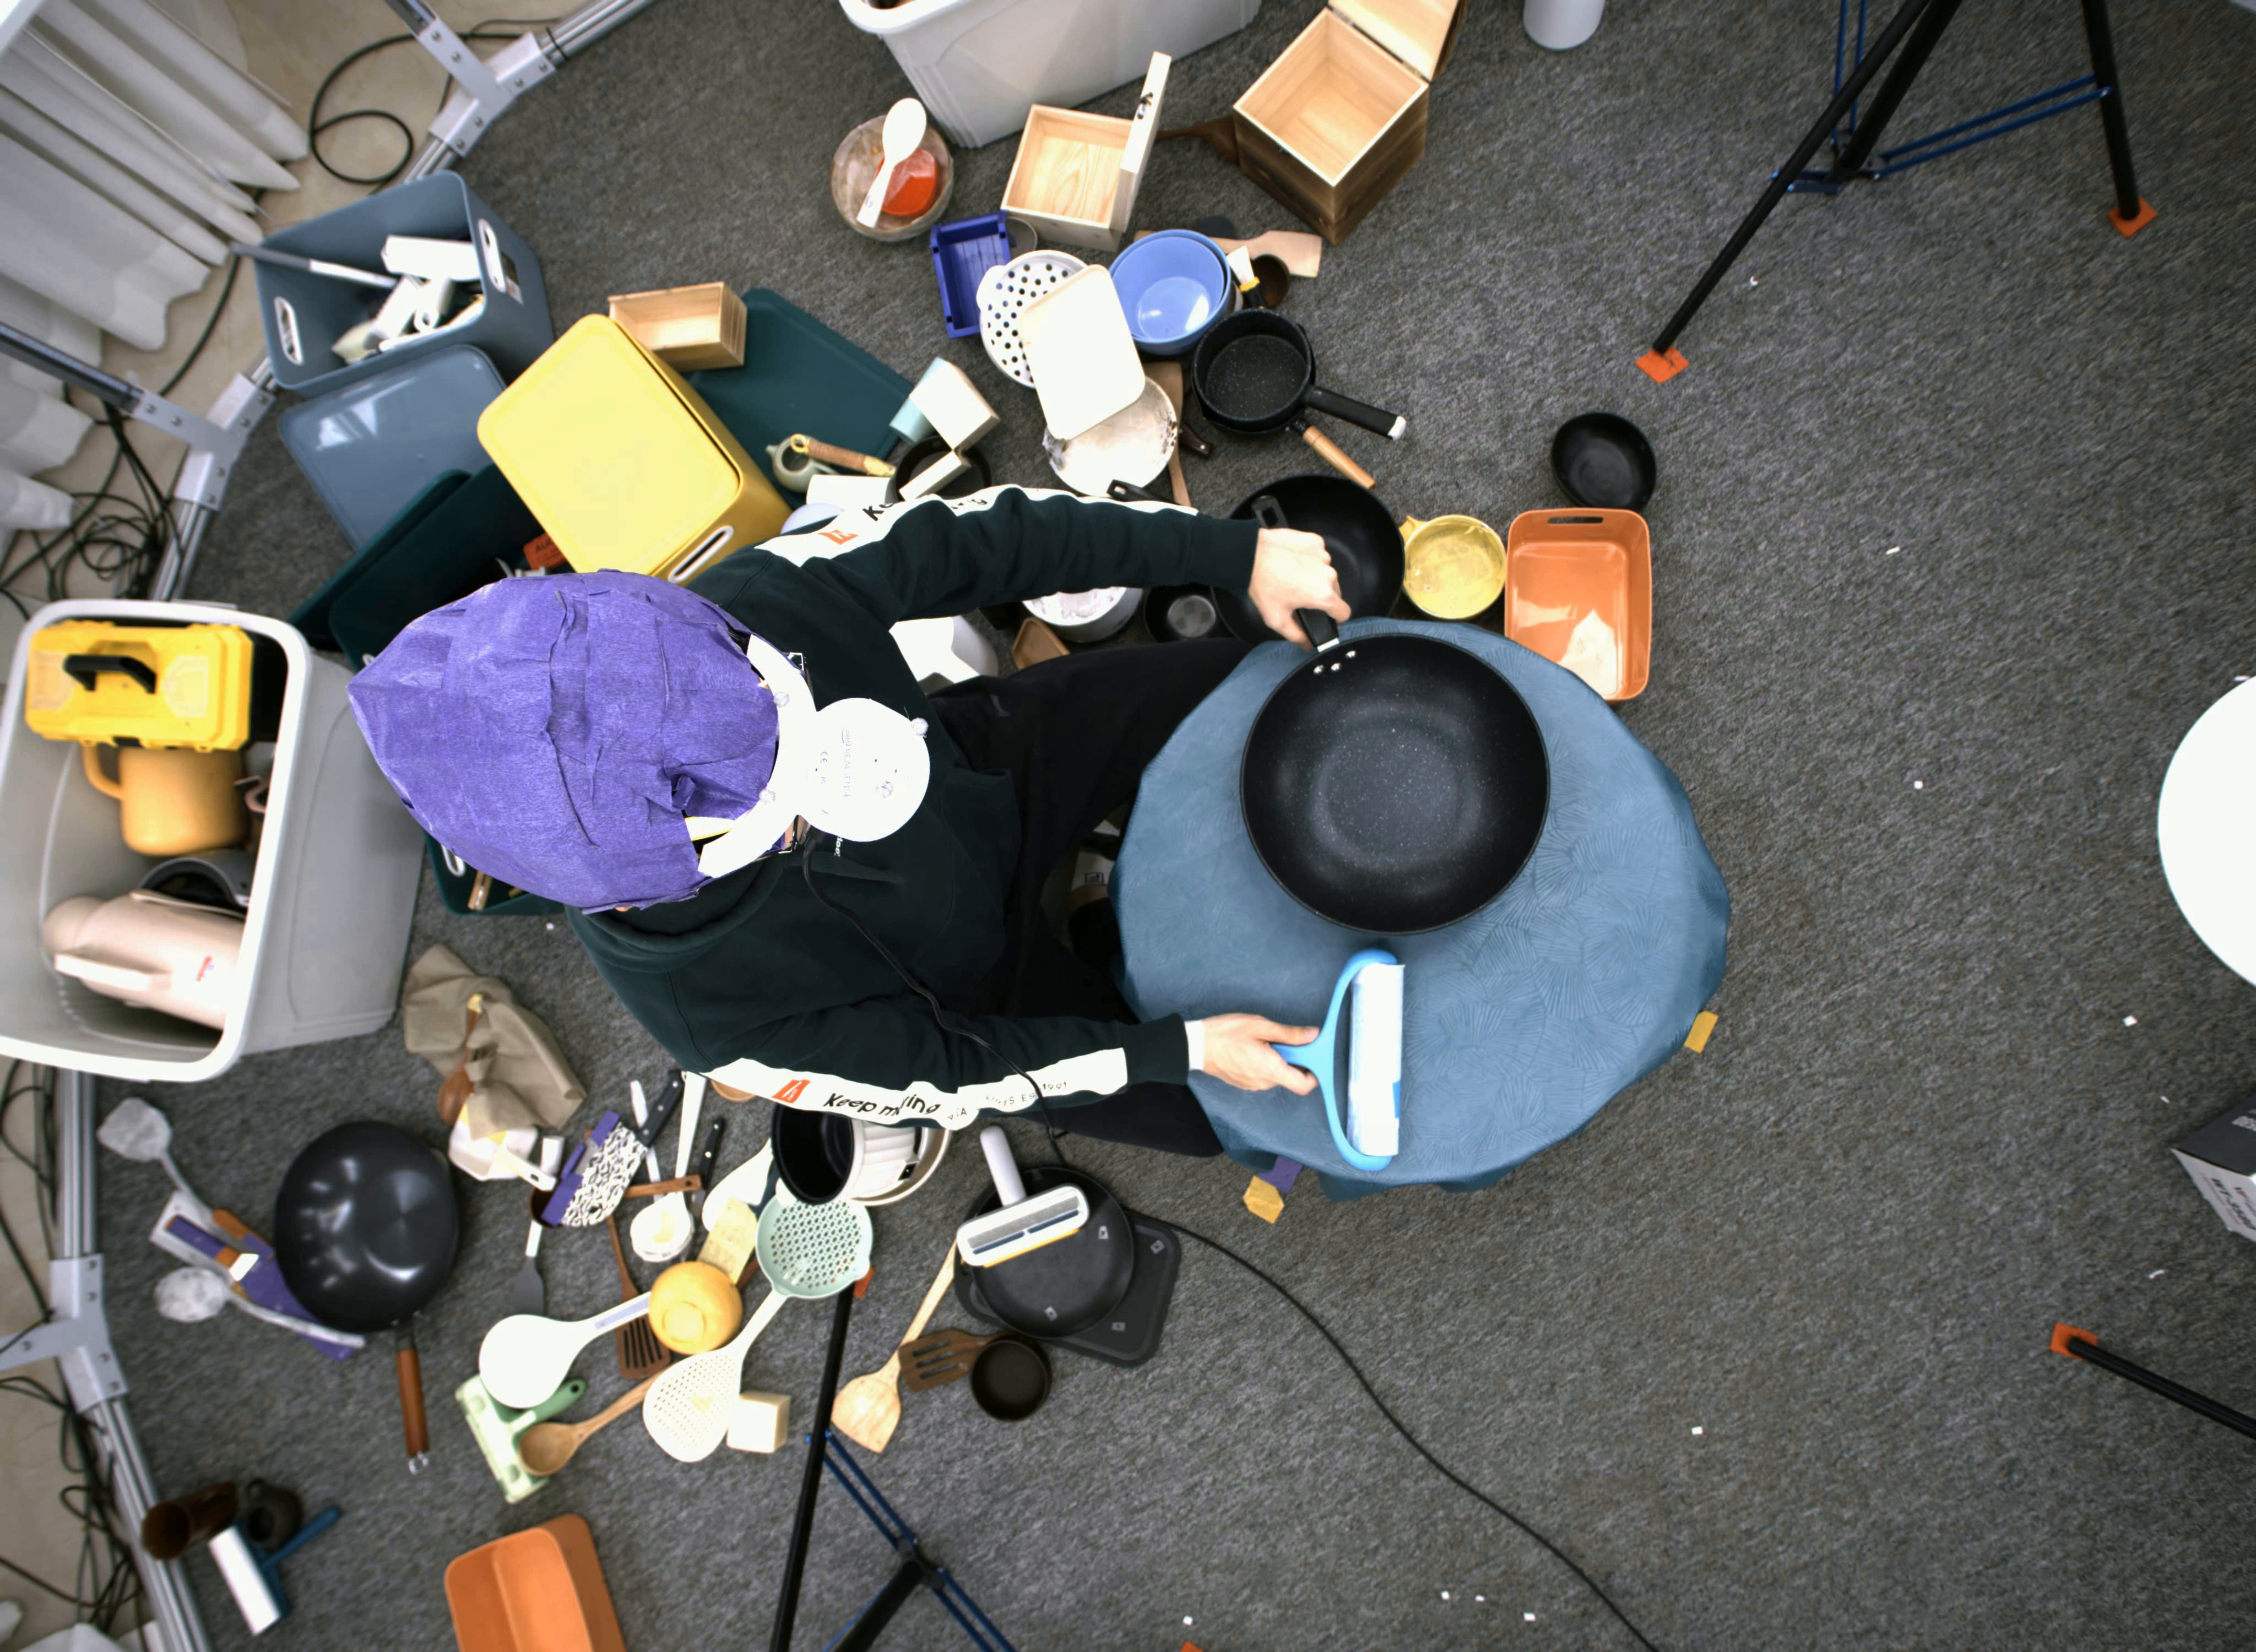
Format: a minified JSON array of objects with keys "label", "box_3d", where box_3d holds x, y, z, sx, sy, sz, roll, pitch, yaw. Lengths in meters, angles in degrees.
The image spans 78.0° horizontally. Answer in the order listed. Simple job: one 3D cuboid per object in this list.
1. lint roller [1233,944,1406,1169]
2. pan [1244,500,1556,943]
[{"label":"lint roller","box_3d":[0.198,0.238,1.428,0.181,0.068,0.228,-2,89,5]},{"label":"pan","box_3d":[0.241,-0.111,1.416,0.311,0.112,0.474,-25,83,6]}]
